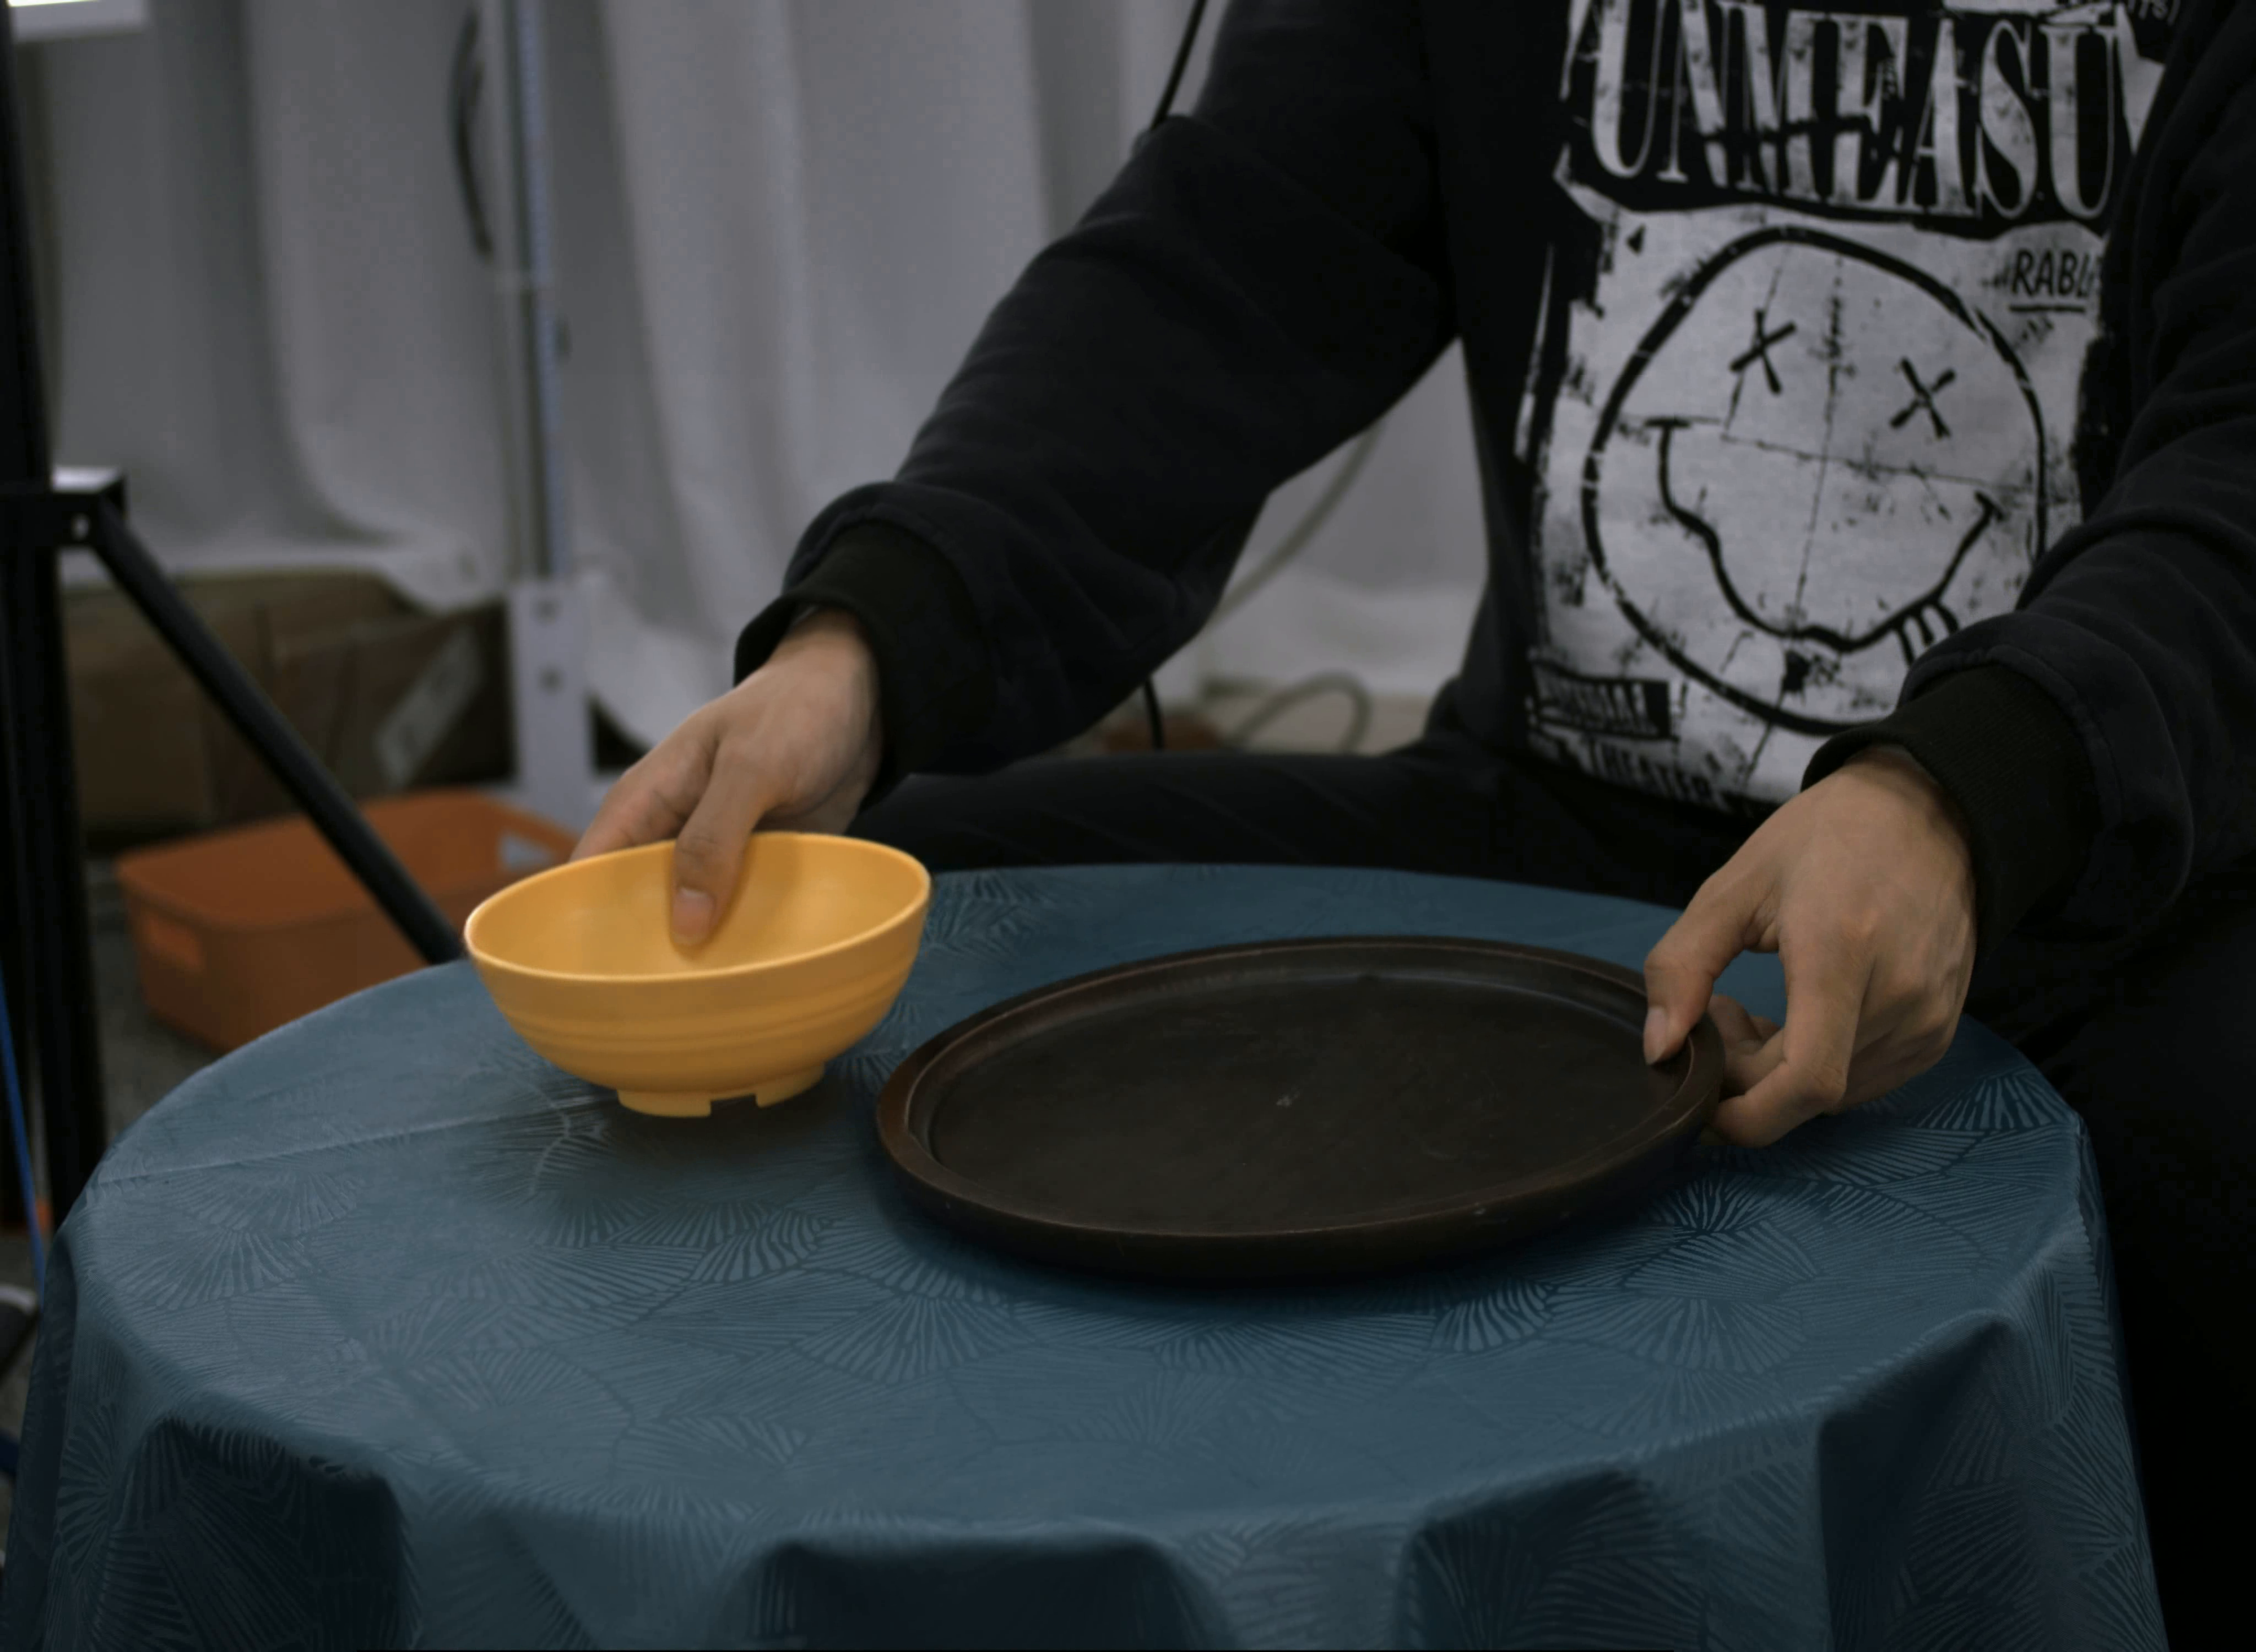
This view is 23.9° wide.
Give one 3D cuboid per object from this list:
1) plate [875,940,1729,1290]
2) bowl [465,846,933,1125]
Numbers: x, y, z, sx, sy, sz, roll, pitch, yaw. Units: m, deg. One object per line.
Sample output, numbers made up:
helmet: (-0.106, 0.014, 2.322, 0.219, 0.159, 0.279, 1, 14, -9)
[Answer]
plate: (0.052, 0.084, 1.572, 0.253, 0.029, 0.256, -6, 16, 0)
bowl: (-0.130, 0.054, 1.648, 0.144, 0.060, 0.146, -4, 15, 0)
